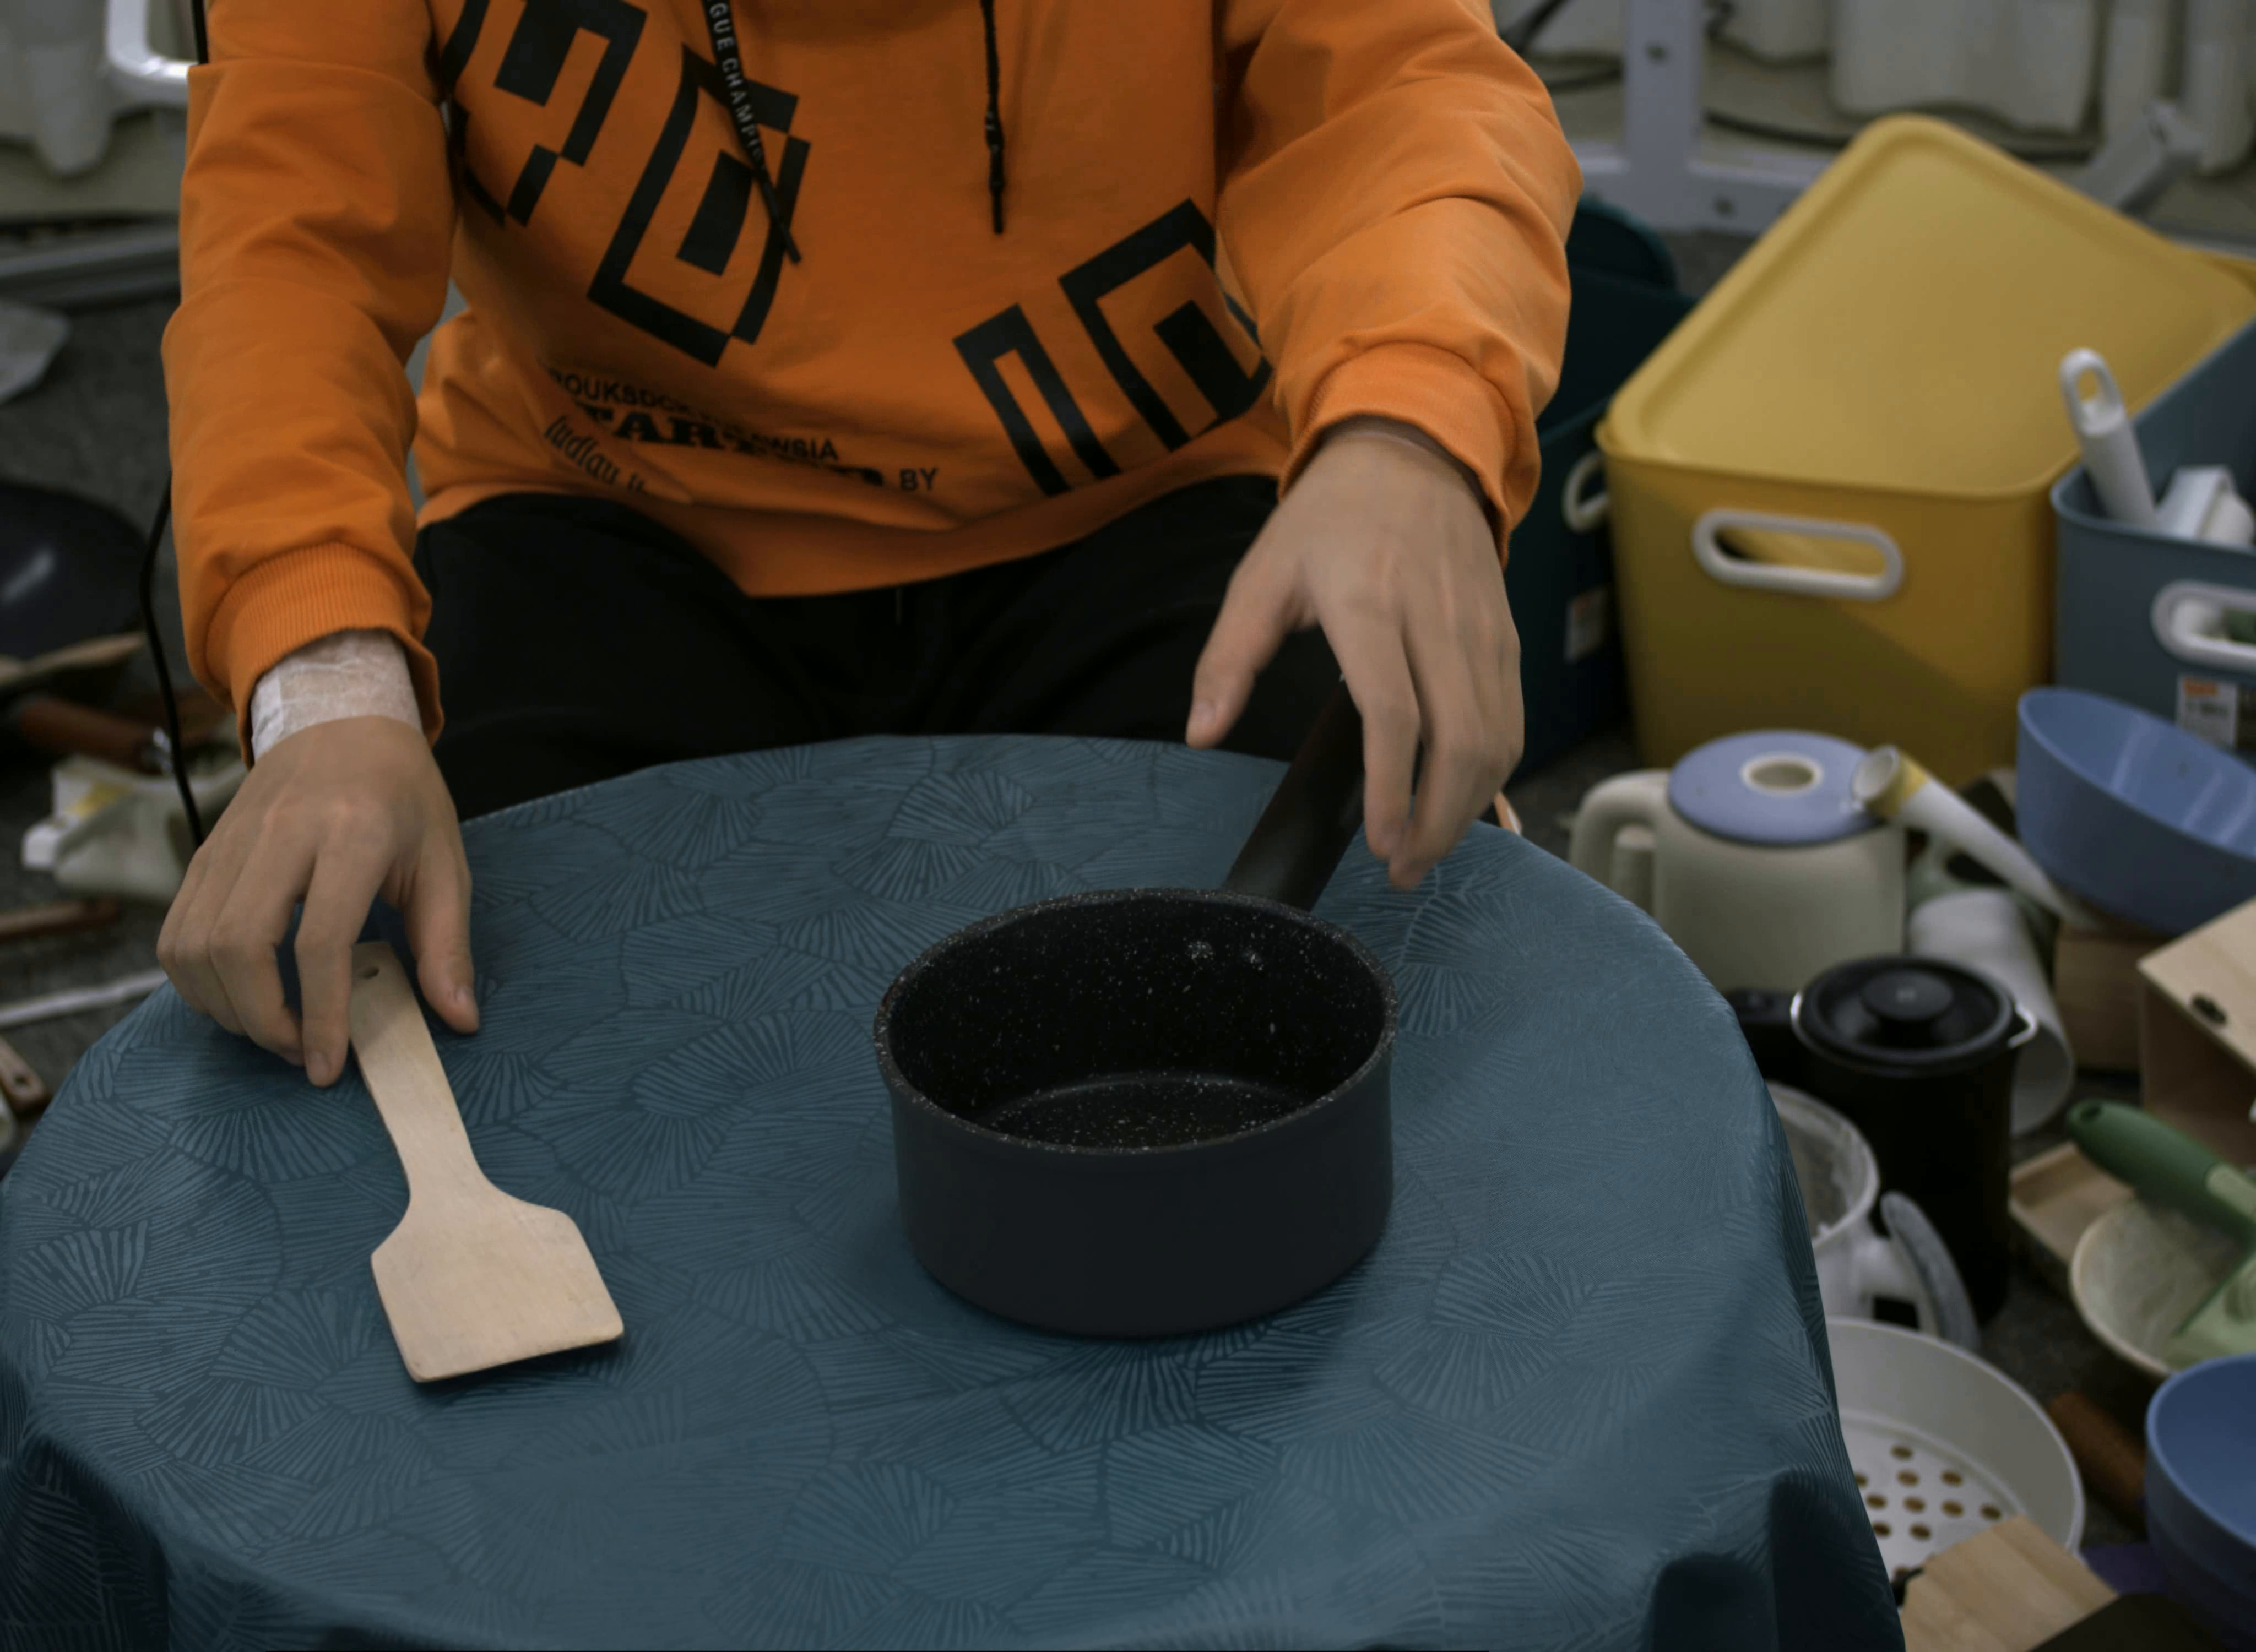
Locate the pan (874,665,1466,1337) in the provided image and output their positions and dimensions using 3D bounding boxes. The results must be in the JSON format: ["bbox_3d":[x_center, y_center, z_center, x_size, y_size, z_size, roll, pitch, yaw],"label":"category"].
[{"bbox_3d":[0.037,0.055,1.897,0.171,0.085,0.334,10,32,23],"label":"pan"}]

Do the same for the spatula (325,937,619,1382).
[{"bbox_3d":[-0.237,0.108,1.902,0.072,0.010,0.296,-13,29,-12],"label":"spatula"}]
